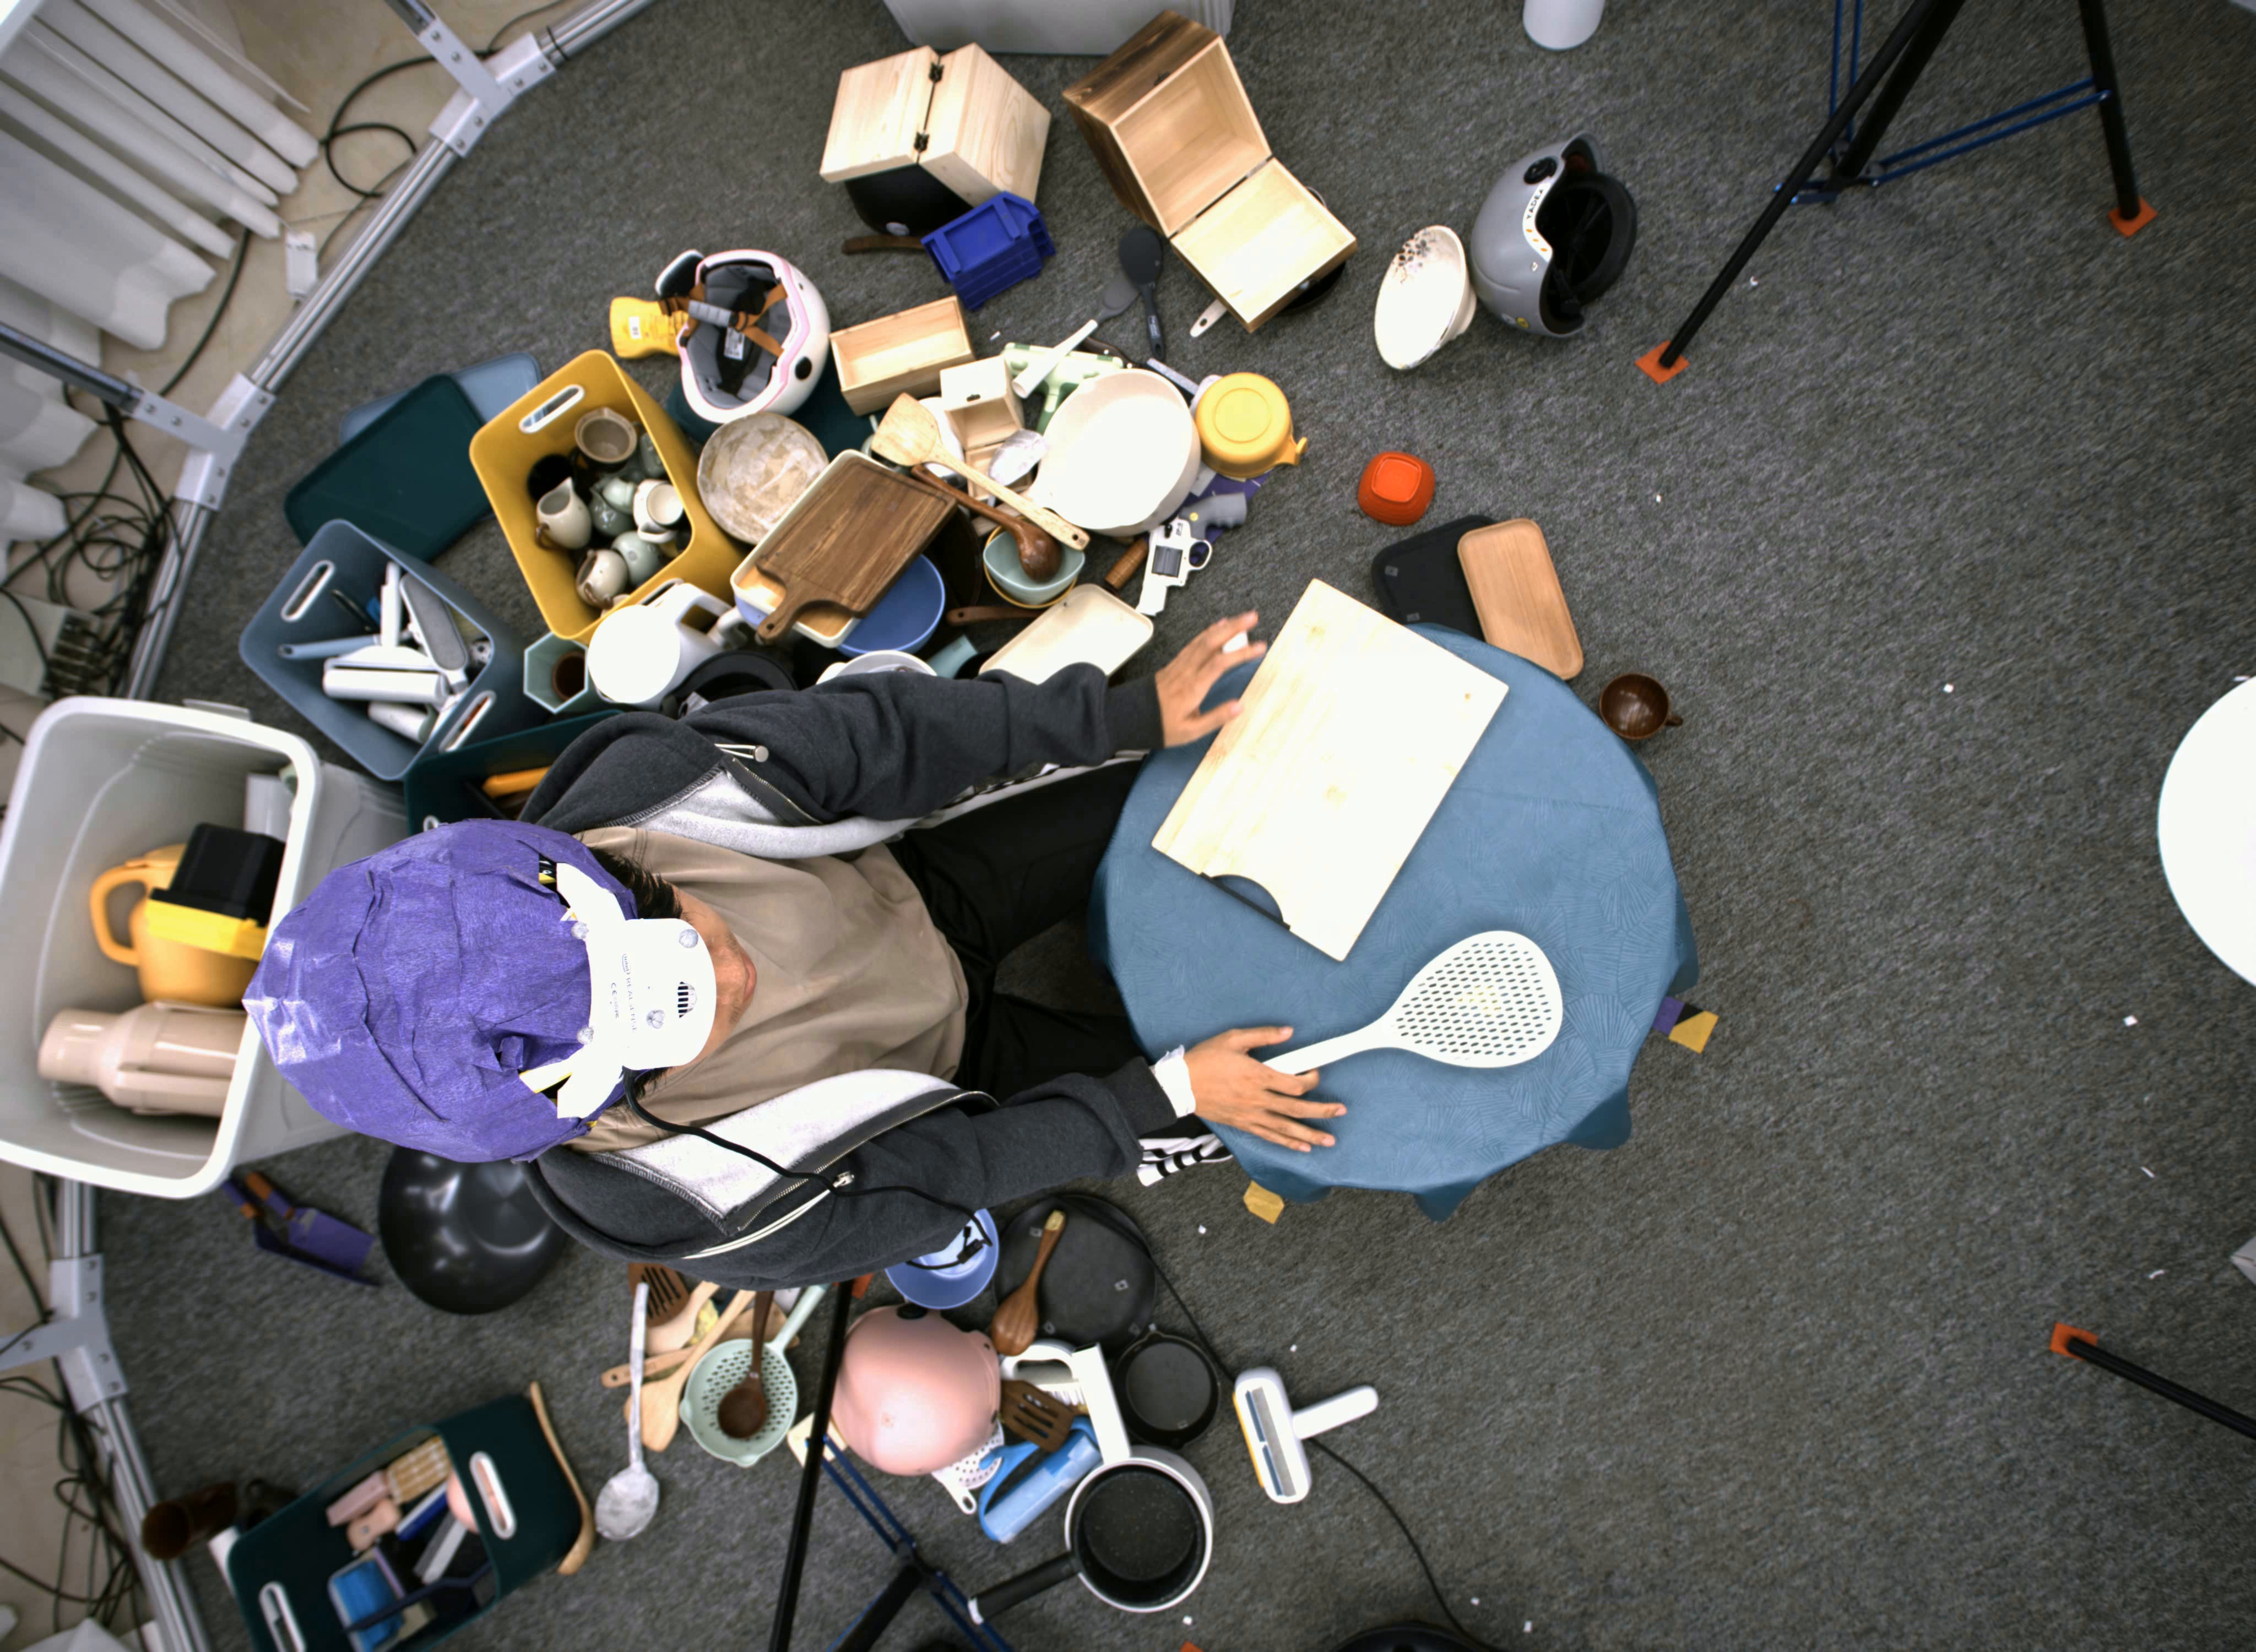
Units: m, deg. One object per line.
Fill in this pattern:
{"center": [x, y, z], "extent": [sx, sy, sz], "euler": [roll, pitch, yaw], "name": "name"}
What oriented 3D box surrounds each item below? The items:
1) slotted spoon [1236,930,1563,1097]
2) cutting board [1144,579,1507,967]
{"center": [0.272, 0.212, 1.430], "extent": [0.350, 0.050, 0.136], "euler": [-20, 84, 8], "name": "slotted spoon"}
{"center": [0.210, -0.059, 1.469], "extent": [0.250, 0.023, 0.349], "euler": [31, 93, 11], "name": "cutting board"}
